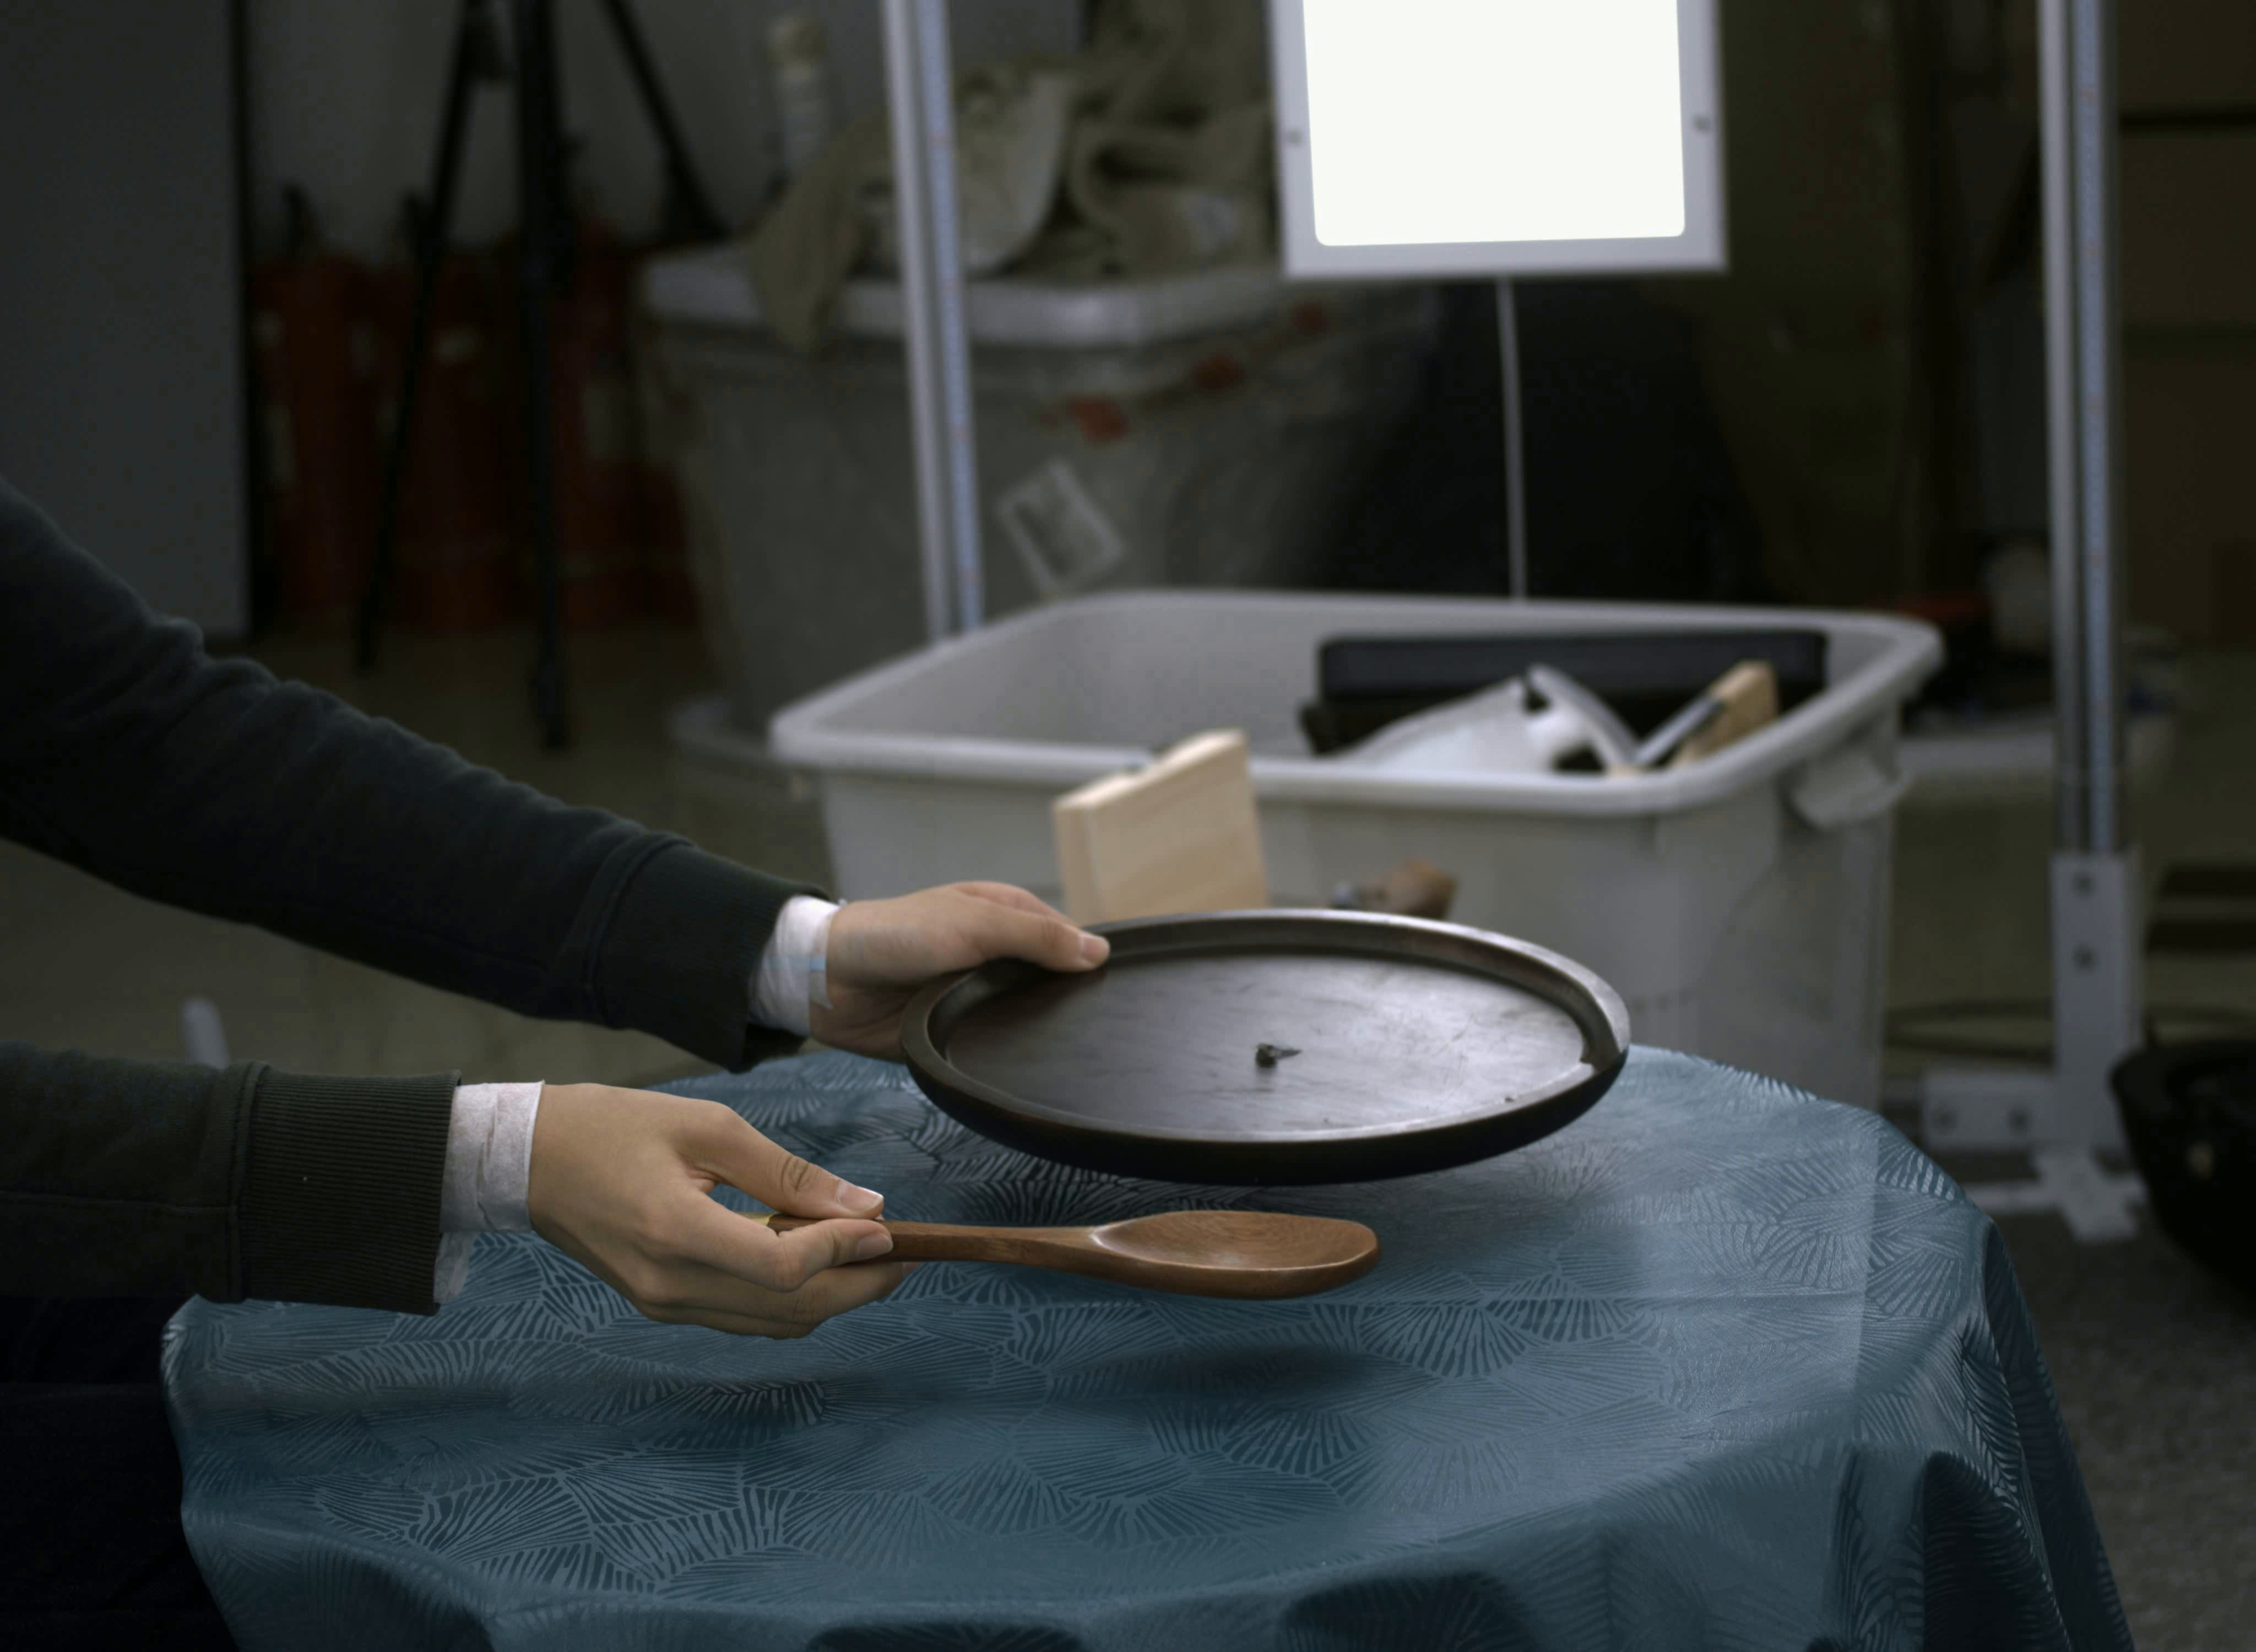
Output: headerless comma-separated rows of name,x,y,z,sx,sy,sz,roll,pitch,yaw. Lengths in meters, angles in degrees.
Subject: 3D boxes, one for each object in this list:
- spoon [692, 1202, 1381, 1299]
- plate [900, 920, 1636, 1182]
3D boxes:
spoon,-0.029,0.130,1.711,0.216,0.017,0.075,3,12,7
plate,0.048,0.074,1.892,0.254,0.029,0.254,-1,16,-1
